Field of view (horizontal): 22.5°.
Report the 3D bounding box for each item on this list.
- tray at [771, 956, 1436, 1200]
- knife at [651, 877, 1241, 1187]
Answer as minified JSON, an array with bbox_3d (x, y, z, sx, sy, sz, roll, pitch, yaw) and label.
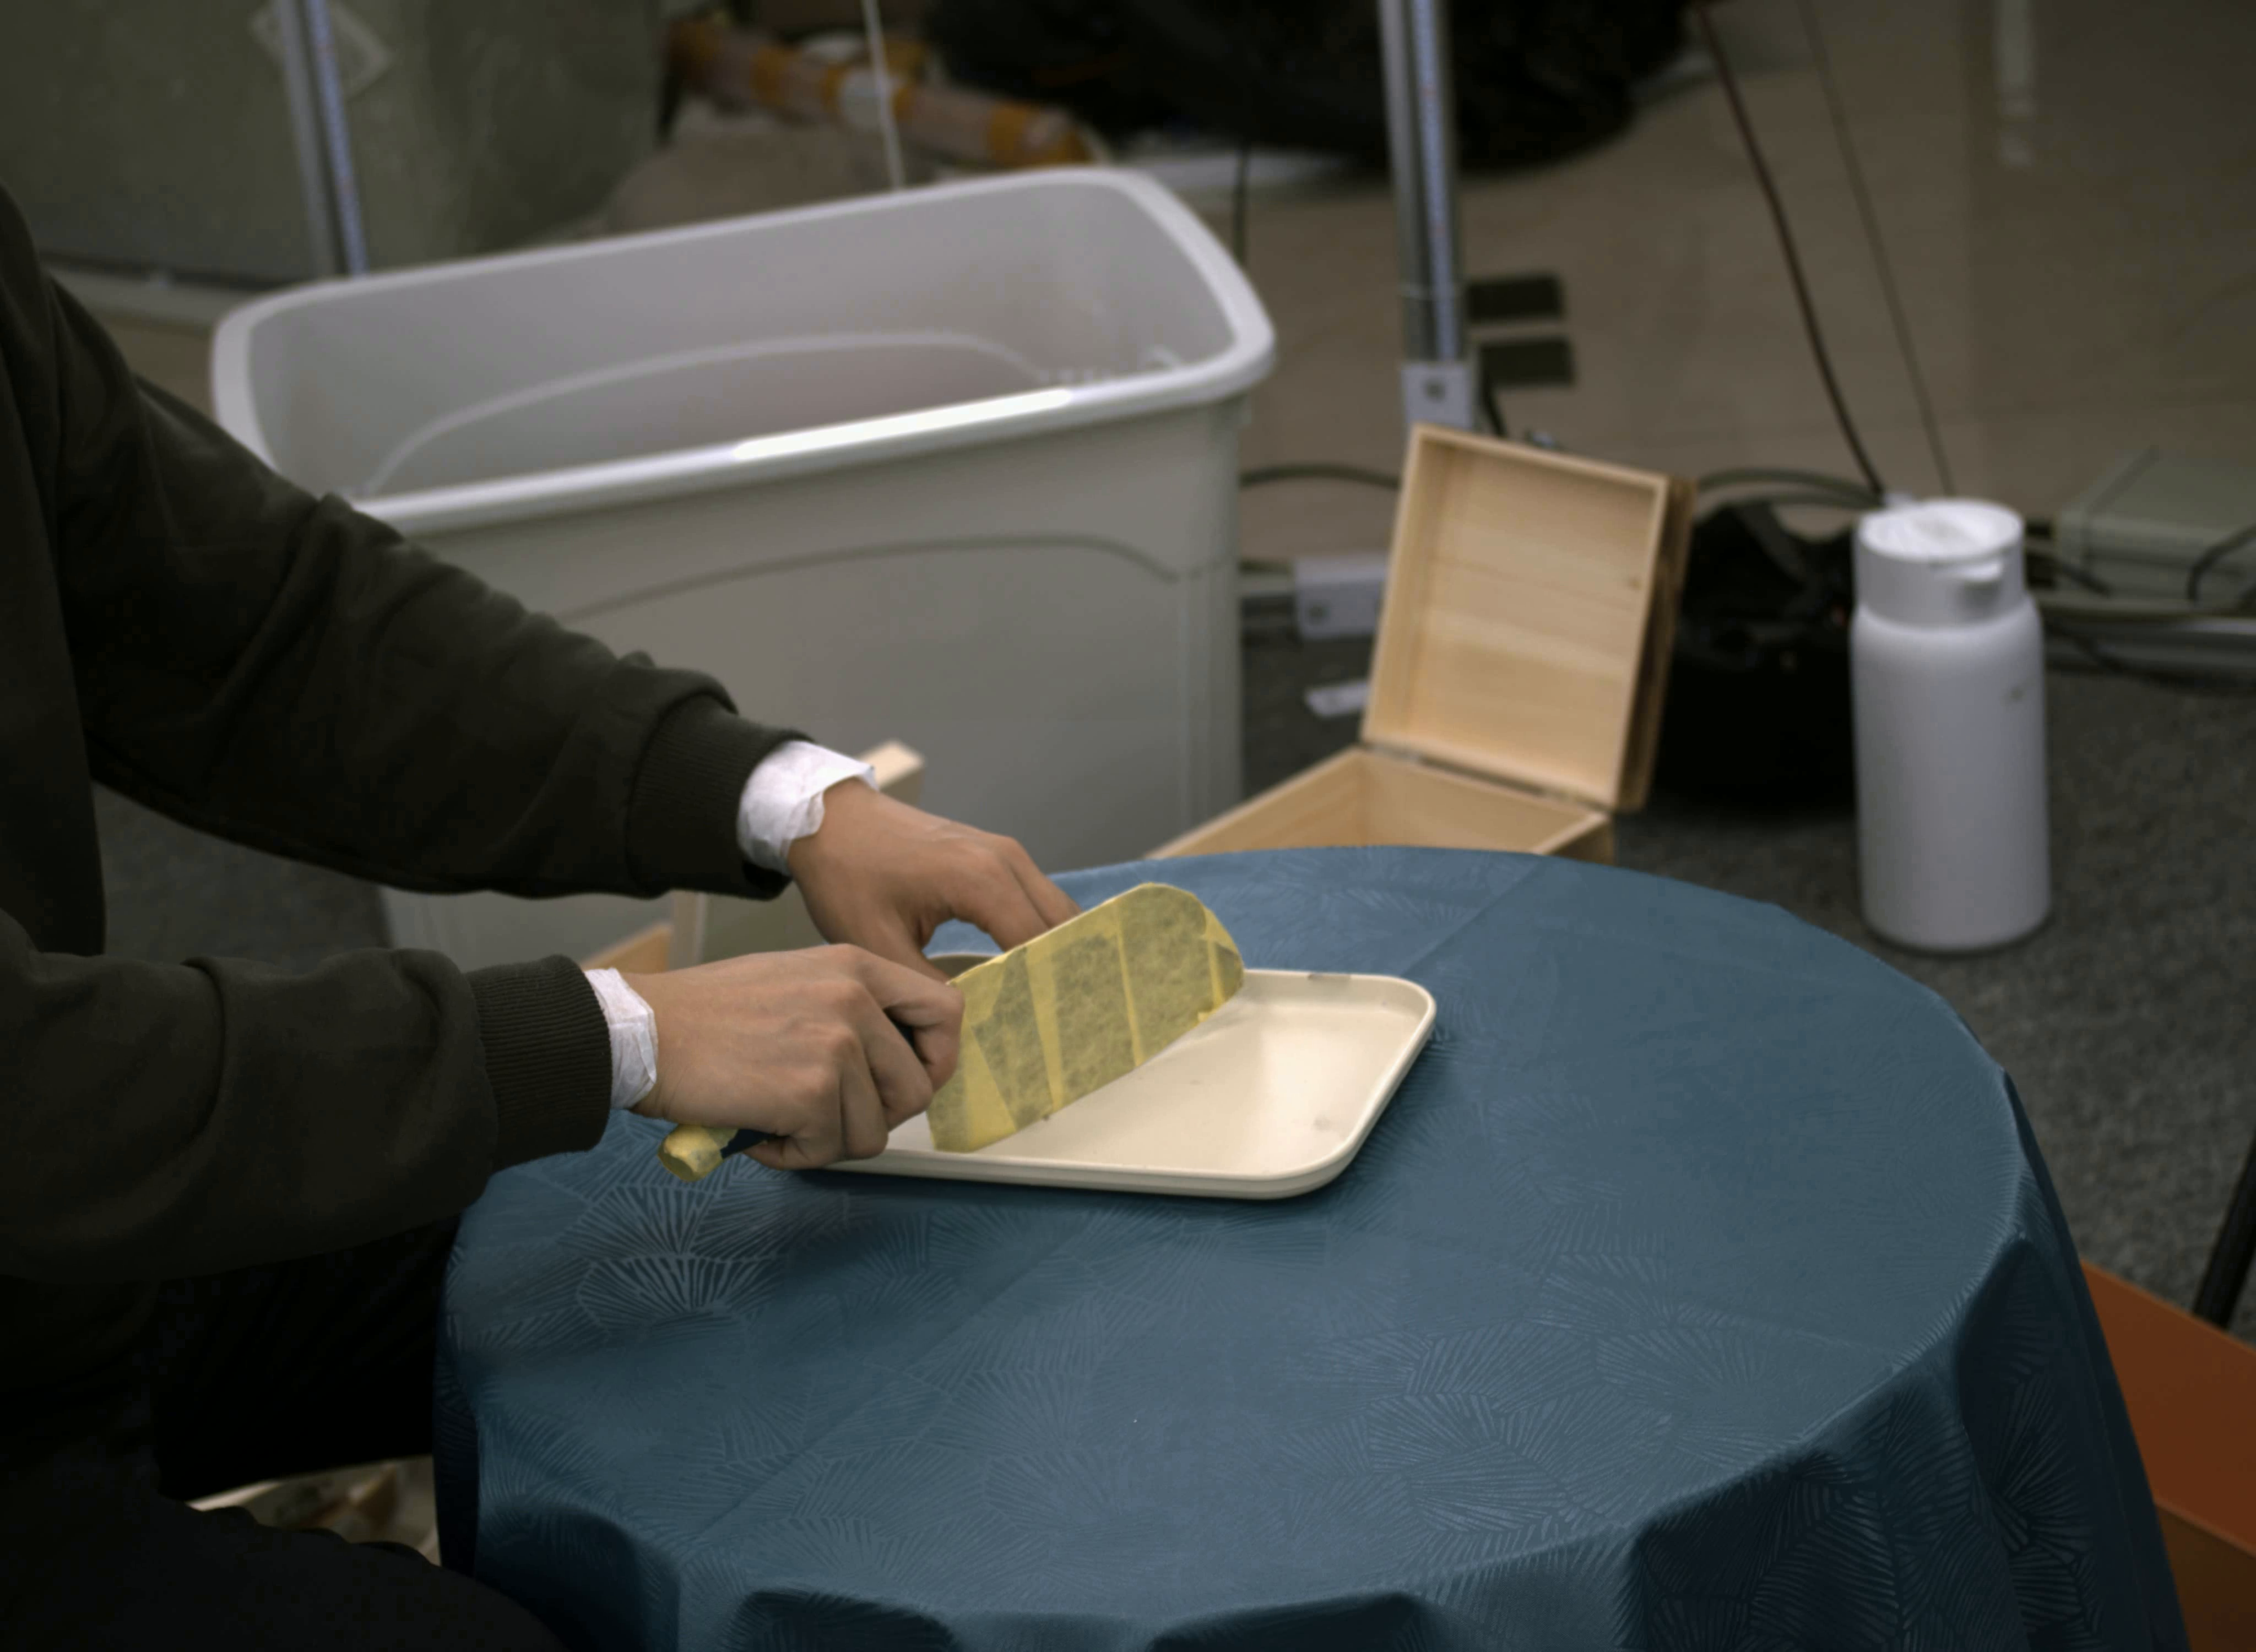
[{"bbox_3d":[-0.008,0.099,2.220,0.239,0.018,0.169,2,27,19],"label":"tray"},{"bbox_3d":[-0.063,0.089,2.177,0.287,0.082,0.027,-22,24,-35],"label":"knife"}]
